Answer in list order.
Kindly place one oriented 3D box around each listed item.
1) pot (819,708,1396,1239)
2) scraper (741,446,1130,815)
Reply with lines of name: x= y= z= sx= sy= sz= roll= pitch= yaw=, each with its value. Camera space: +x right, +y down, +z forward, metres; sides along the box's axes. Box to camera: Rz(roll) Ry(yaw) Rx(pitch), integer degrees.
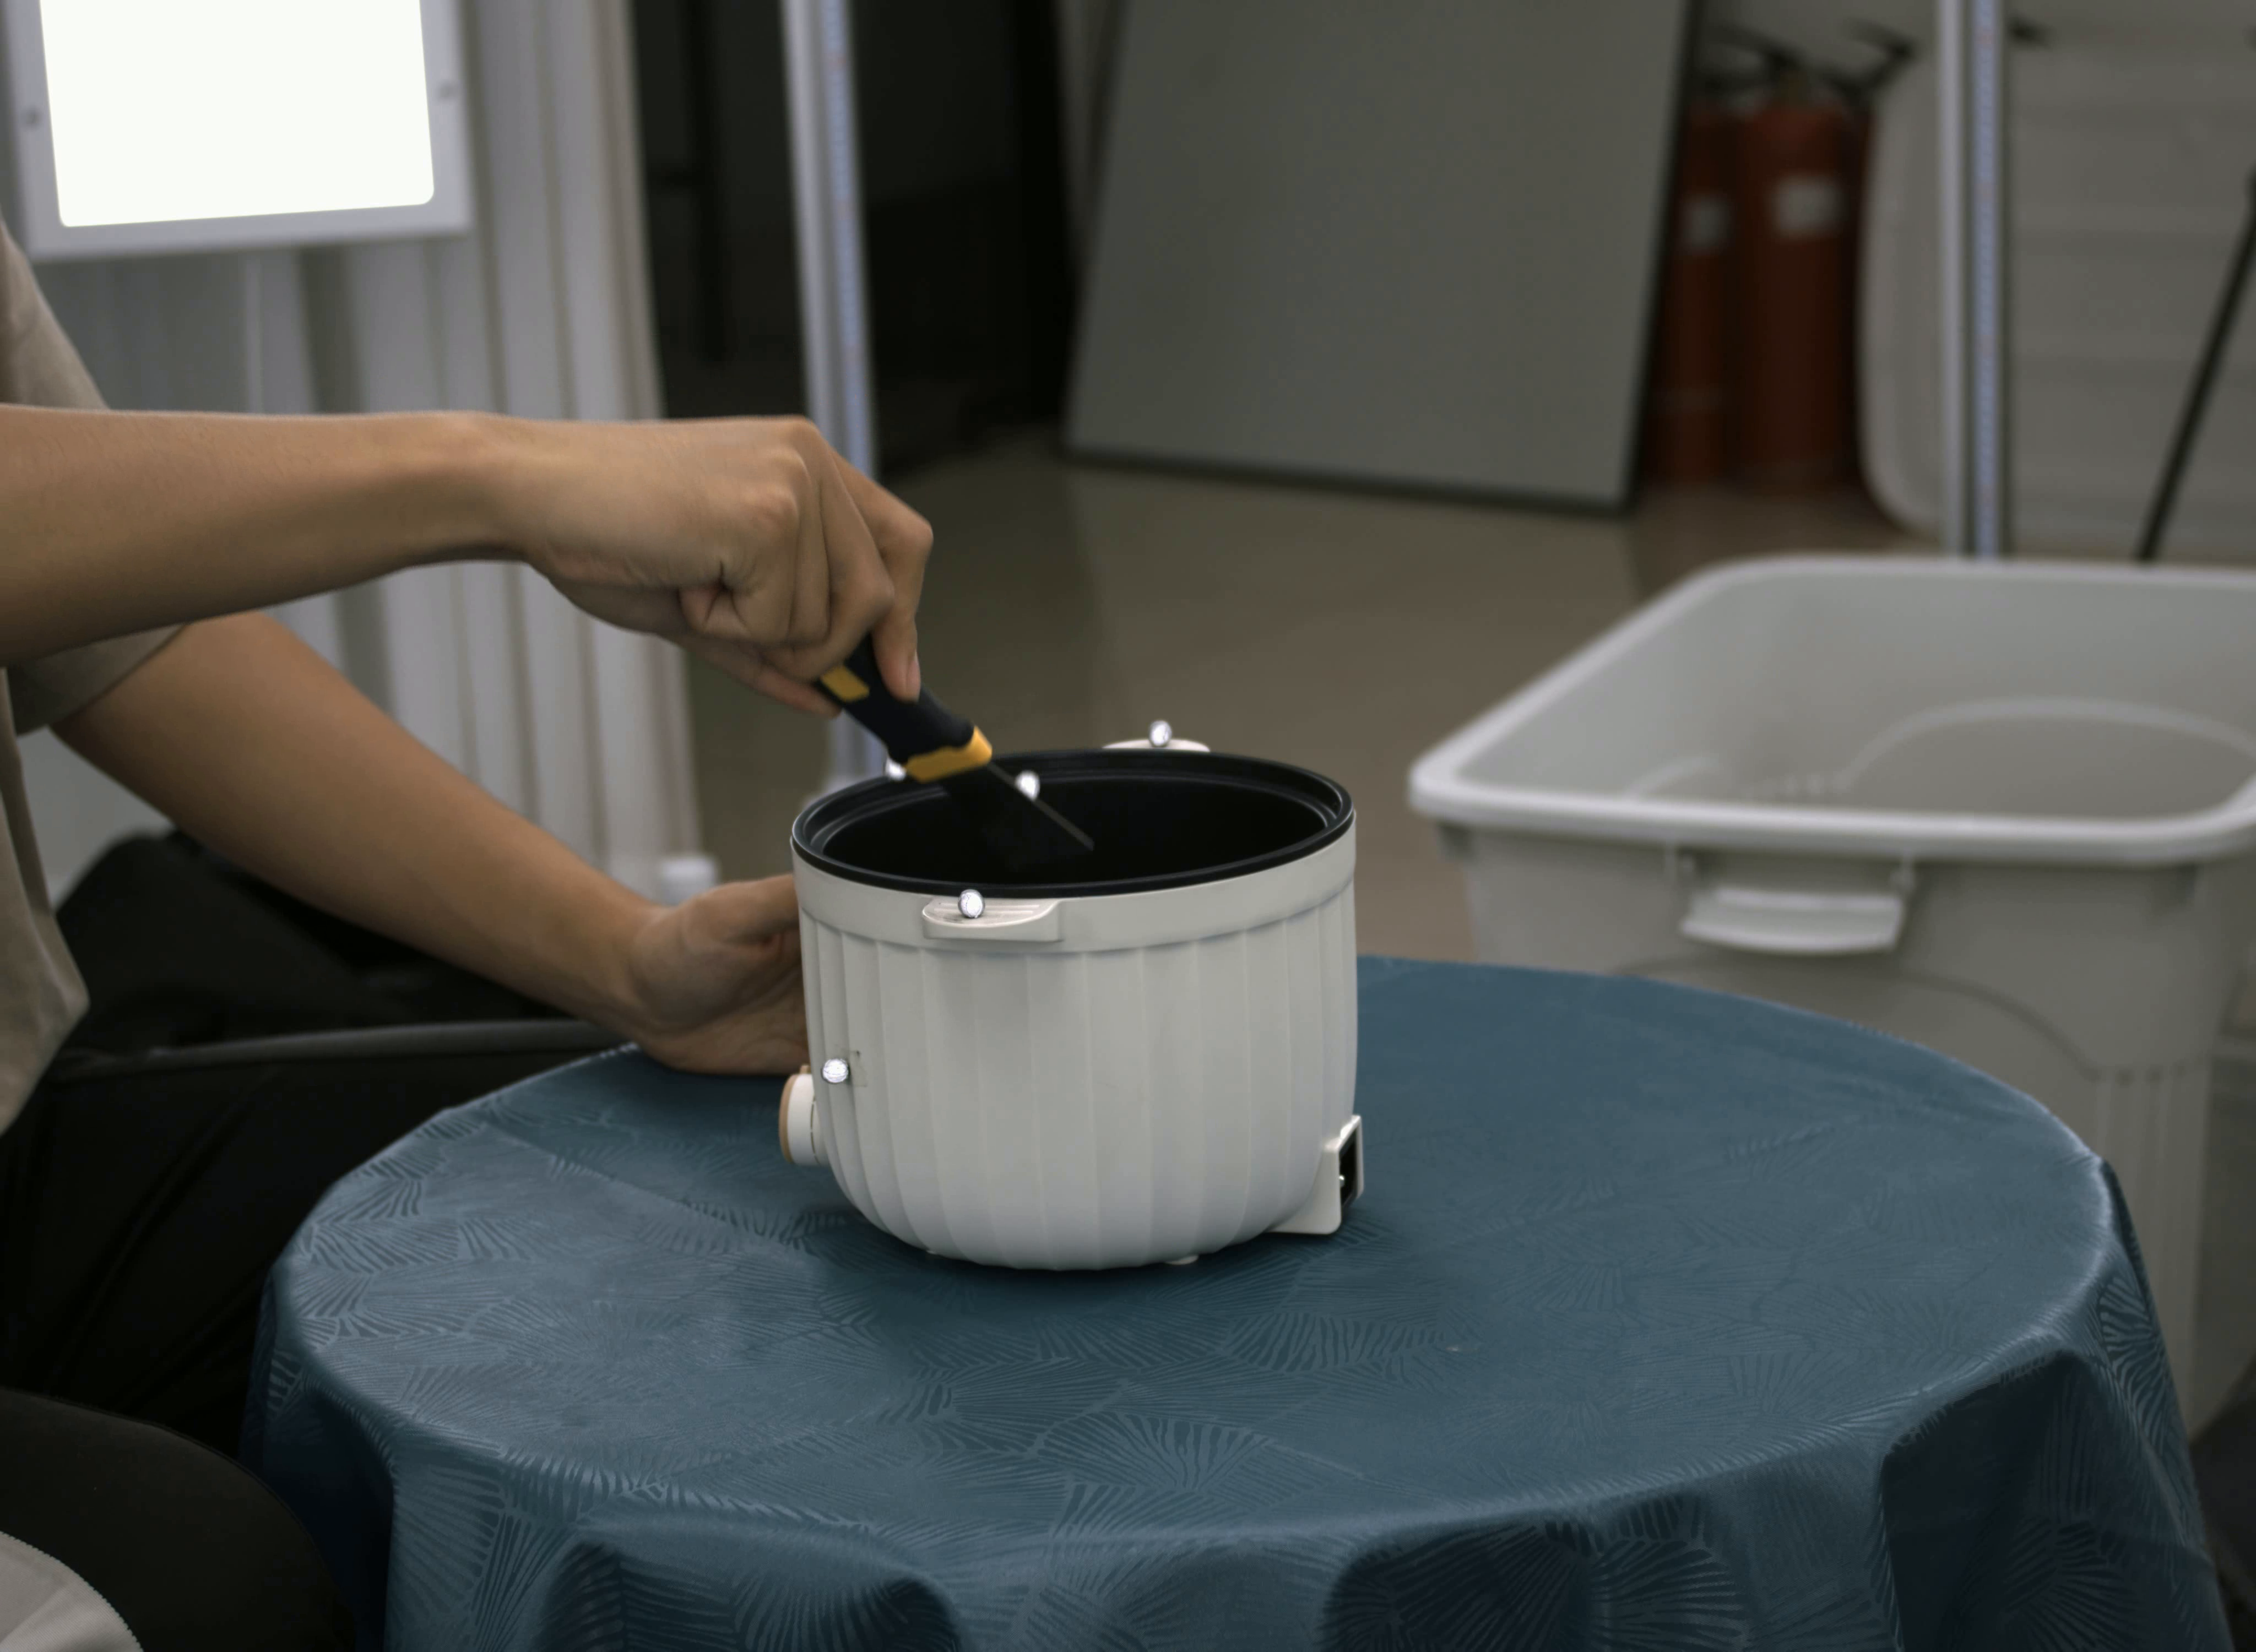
pot: x=-0.008 y=0.050 z=1.747 sx=0.189 sy=0.144 sz=0.238 roll=4 pitch=13 yaw=14
scraper: x=-0.059 y=-0.057 z=1.642 sx=0.039 sy=0.169 sz=0.015 roll=-8 pitch=46 yaw=43
